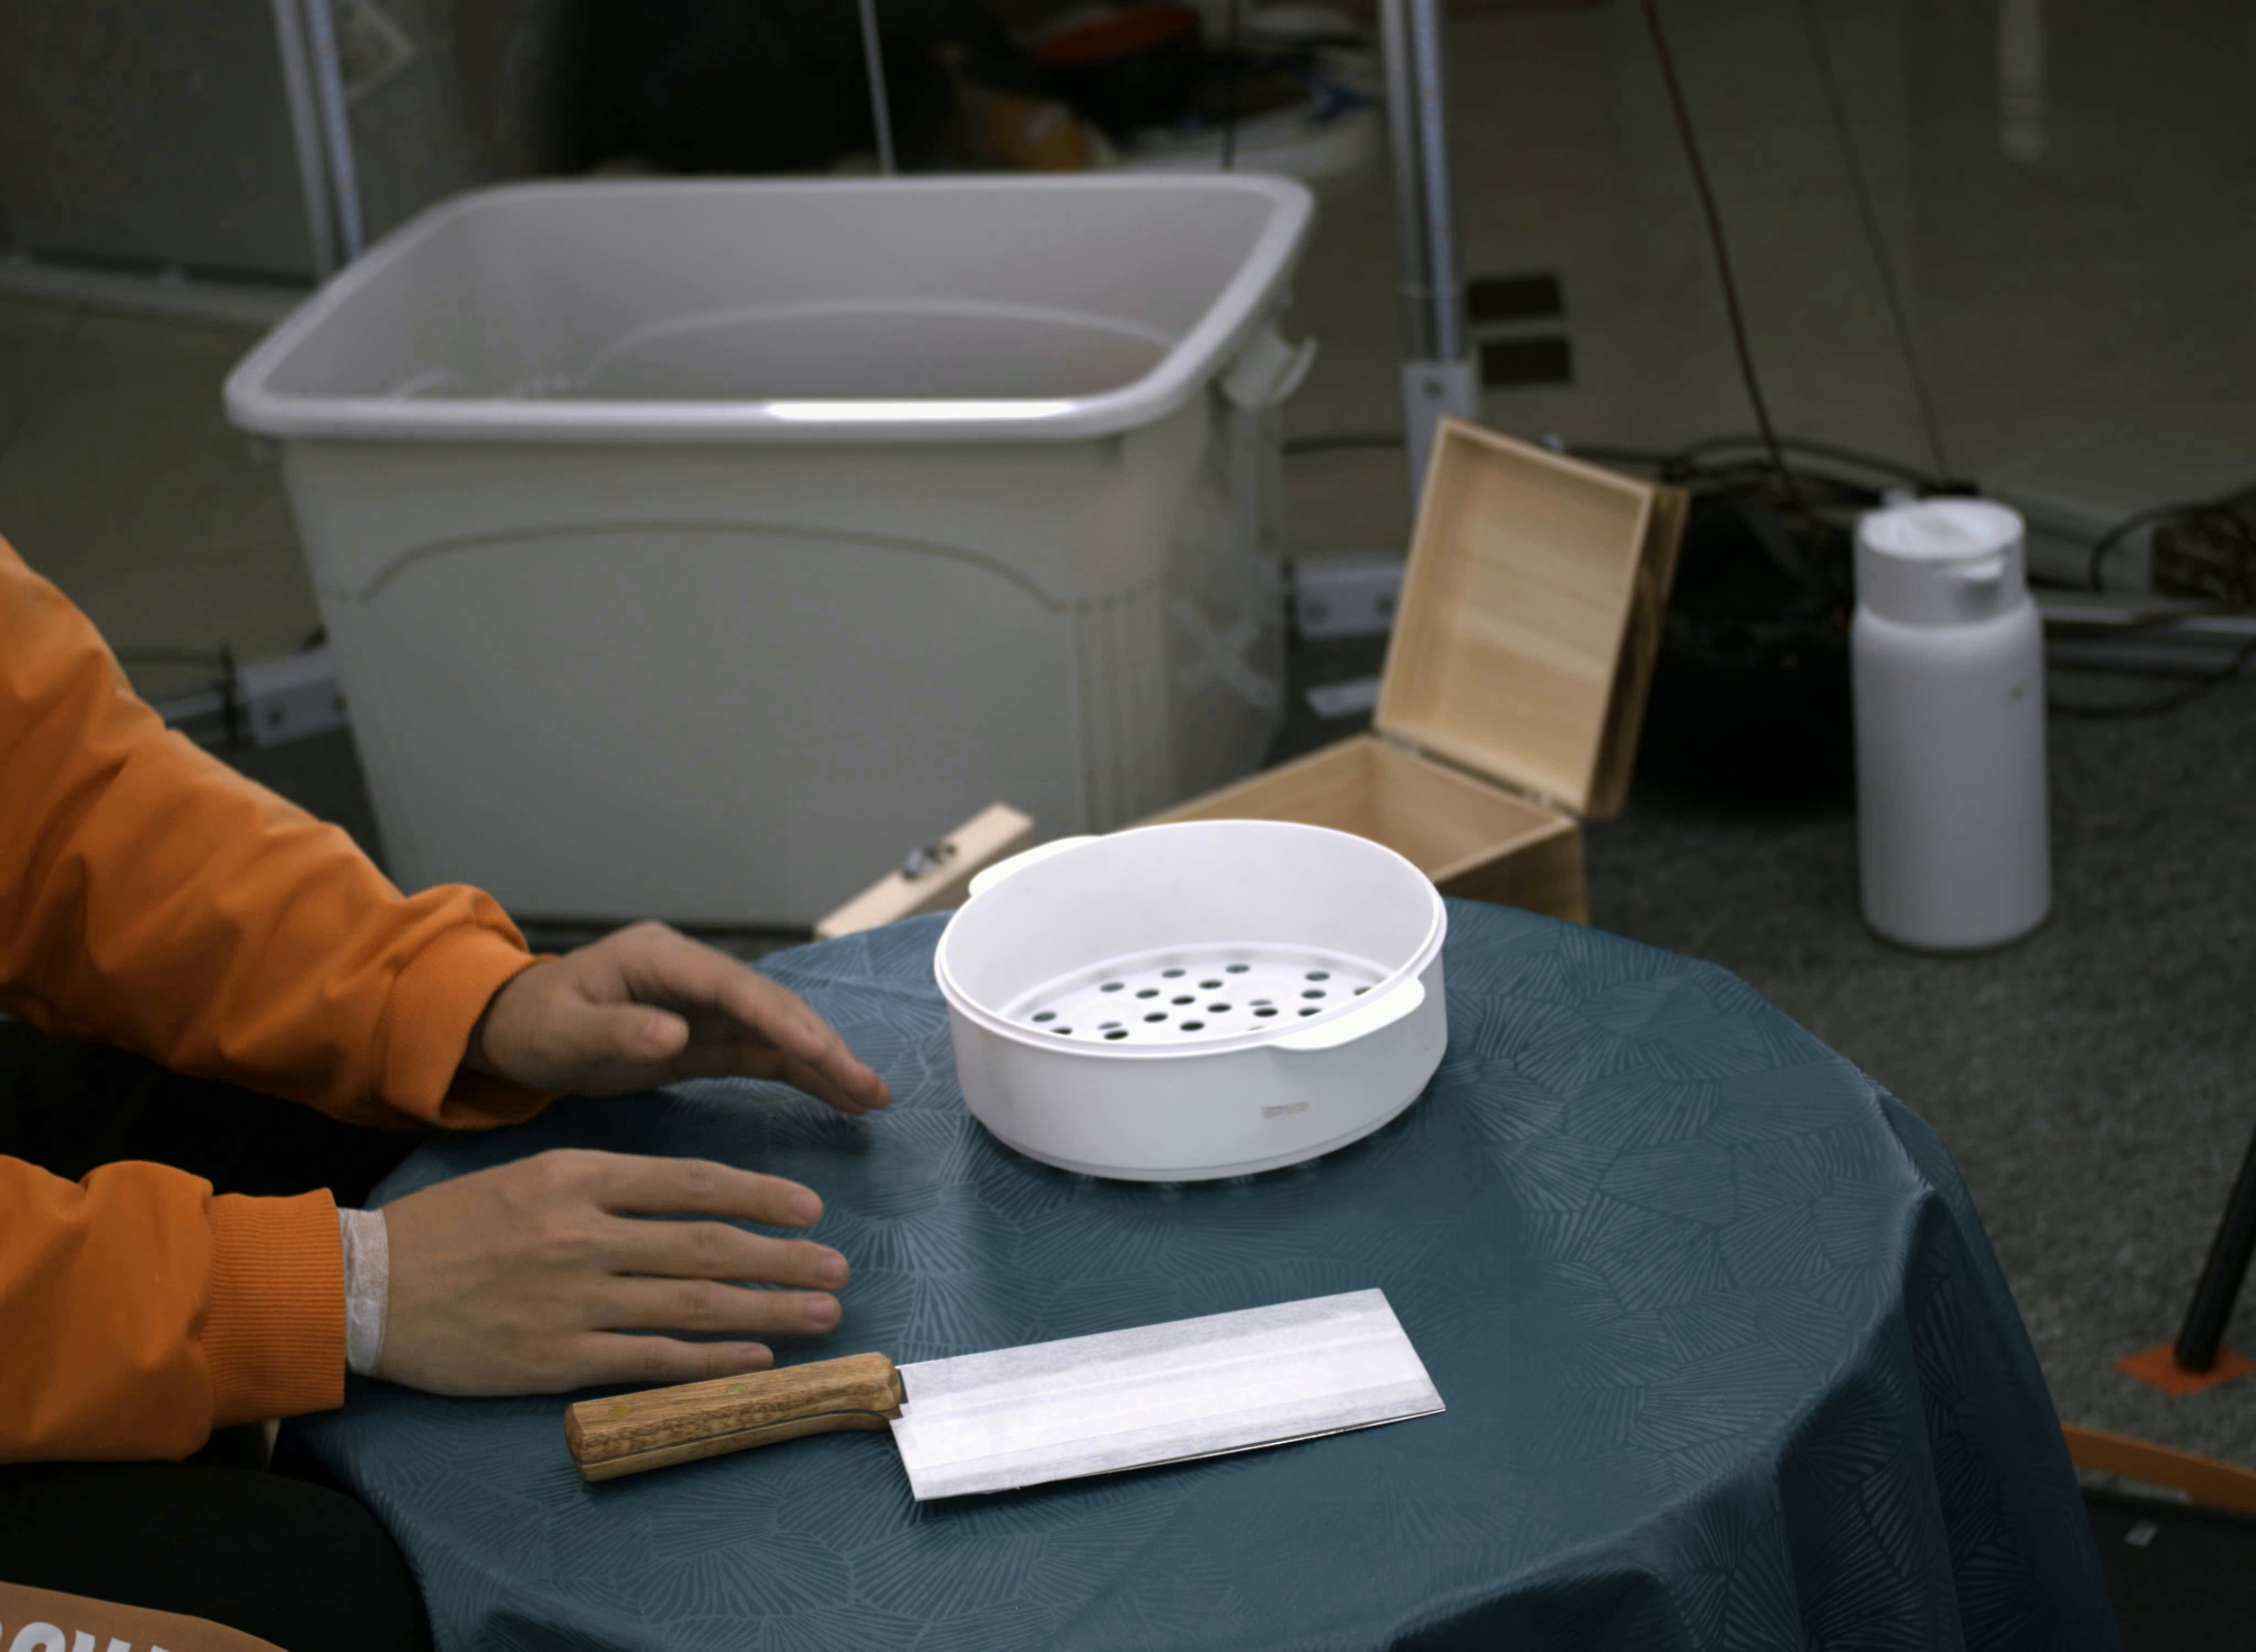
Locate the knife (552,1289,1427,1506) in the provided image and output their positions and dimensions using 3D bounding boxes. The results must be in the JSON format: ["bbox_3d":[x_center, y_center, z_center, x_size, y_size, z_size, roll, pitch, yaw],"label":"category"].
[{"bbox_3d":[-0.047,0.207,1.994,0.305,0.021,0.091,-9,27,-10],"label":"knife"}]

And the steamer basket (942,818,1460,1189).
[{"bbox_3d":[0.030,0.070,2.205,0.200,0.070,0.228,-24,32,-31],"label":"steamer basket"}]
